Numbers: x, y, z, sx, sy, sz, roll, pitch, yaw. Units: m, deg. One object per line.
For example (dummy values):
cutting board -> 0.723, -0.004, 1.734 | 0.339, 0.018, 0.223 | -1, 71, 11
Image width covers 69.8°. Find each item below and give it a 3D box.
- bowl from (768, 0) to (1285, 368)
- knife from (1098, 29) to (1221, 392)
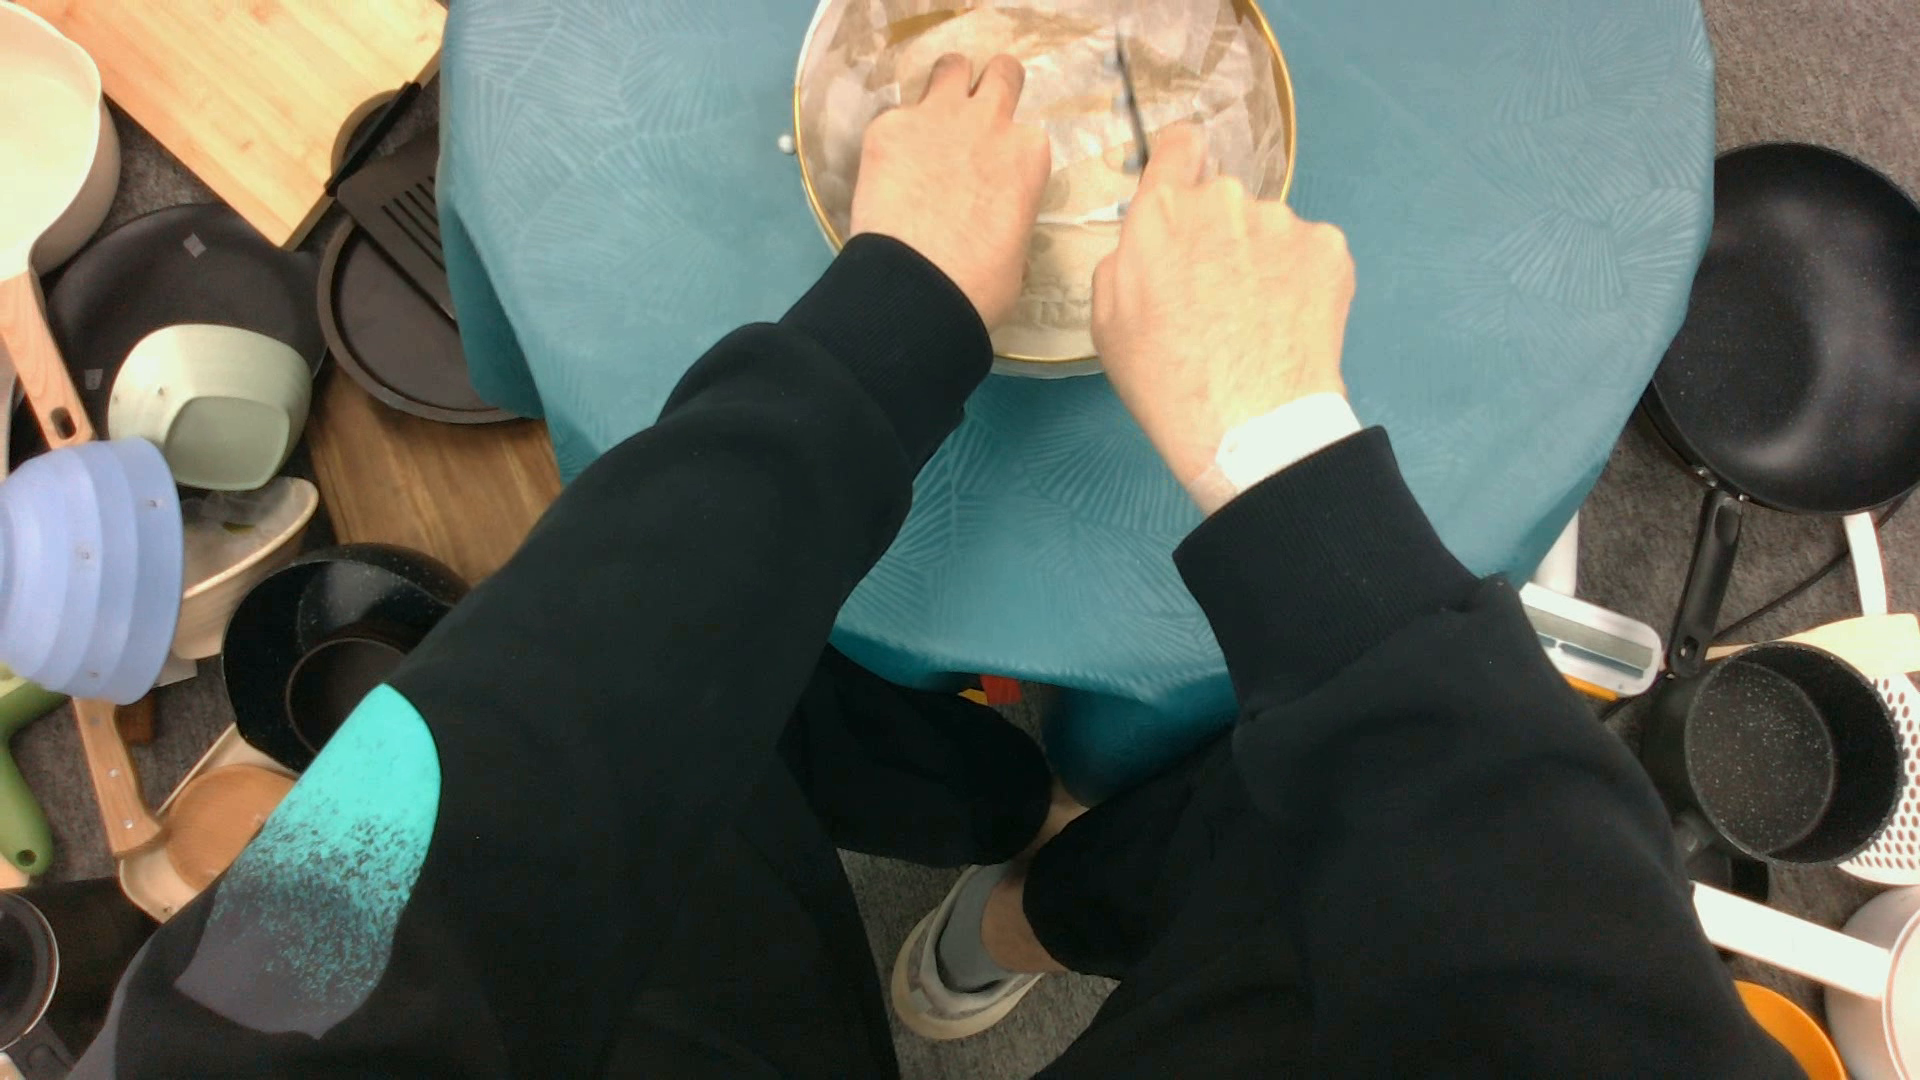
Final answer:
bowl -> 0.024, -0.157, 0.588 | 0.215, 0.094, 0.215 | 1, 77, -4
knife -> 0.074, -0.143, 0.547 | 0.017, 0.026, 0.226 | -6, 53, 0
